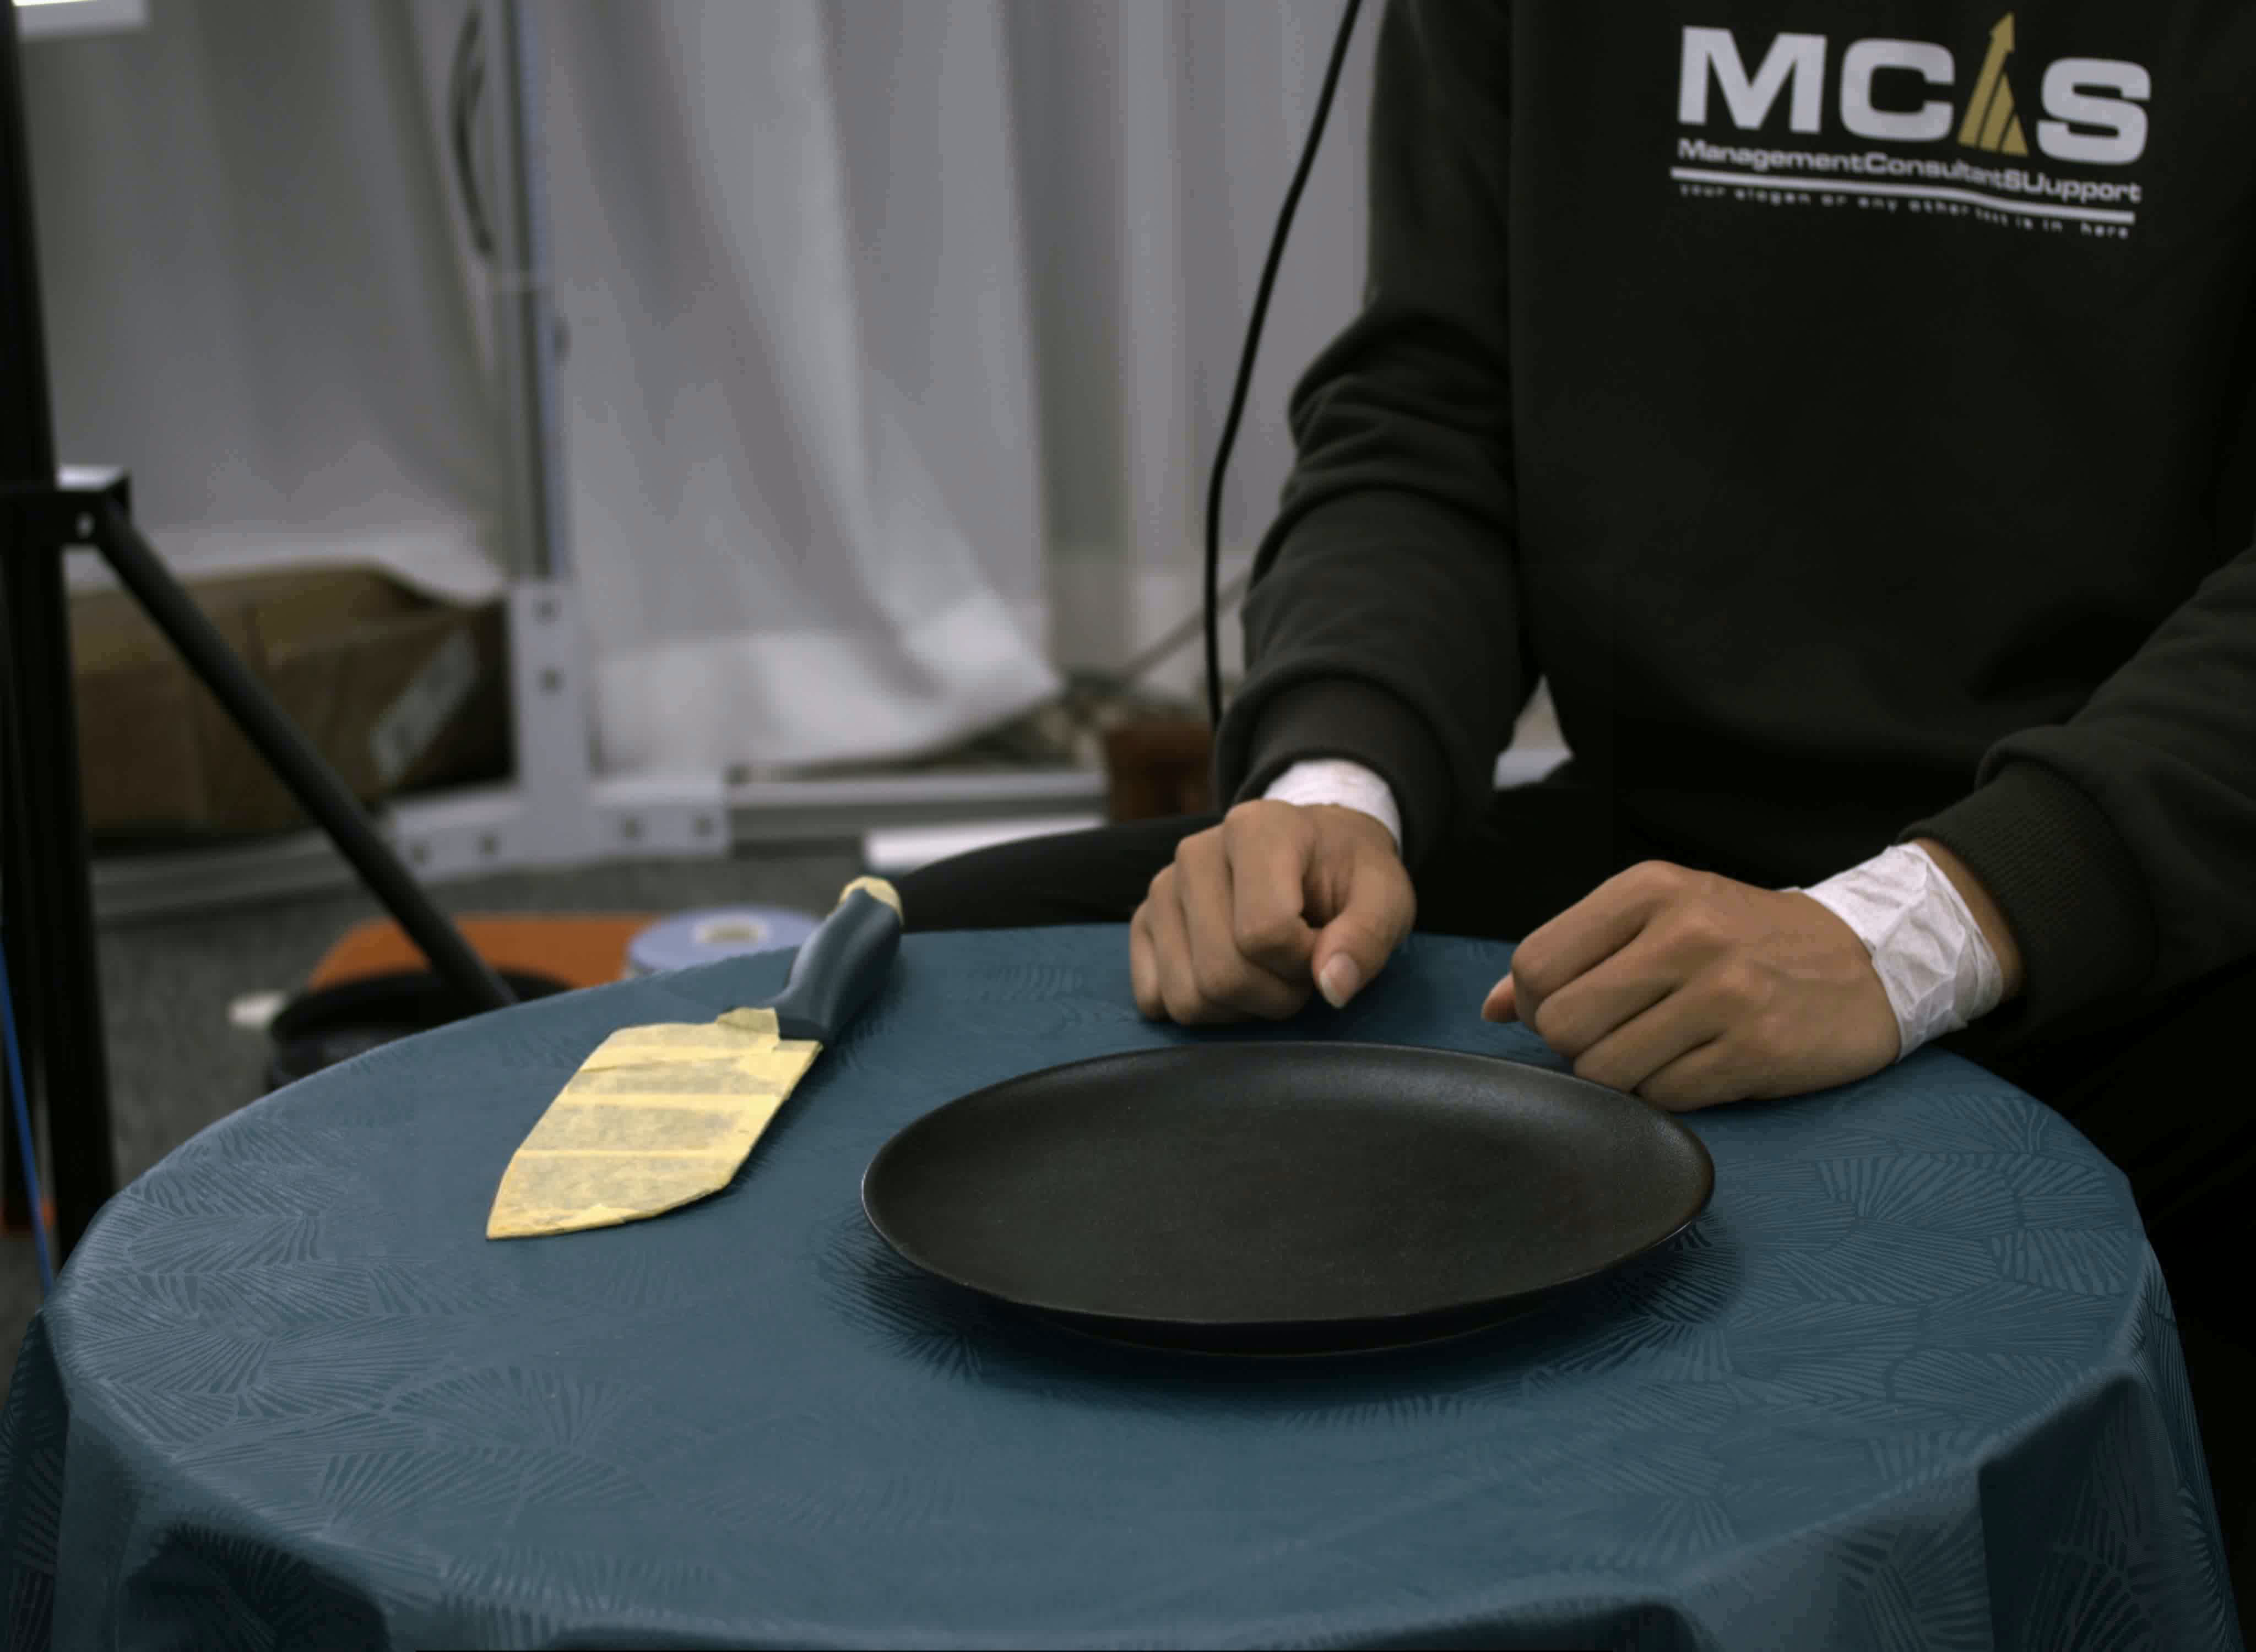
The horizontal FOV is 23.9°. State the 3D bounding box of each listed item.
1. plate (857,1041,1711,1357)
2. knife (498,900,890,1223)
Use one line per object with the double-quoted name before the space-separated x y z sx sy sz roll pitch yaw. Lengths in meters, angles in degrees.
"plate" 0.044 0.108 1.511 0.243 0.023 0.245 -3 16 -1
"knife" -0.132 0.074 1.677 0.081 0.027 0.287 3 17 14
